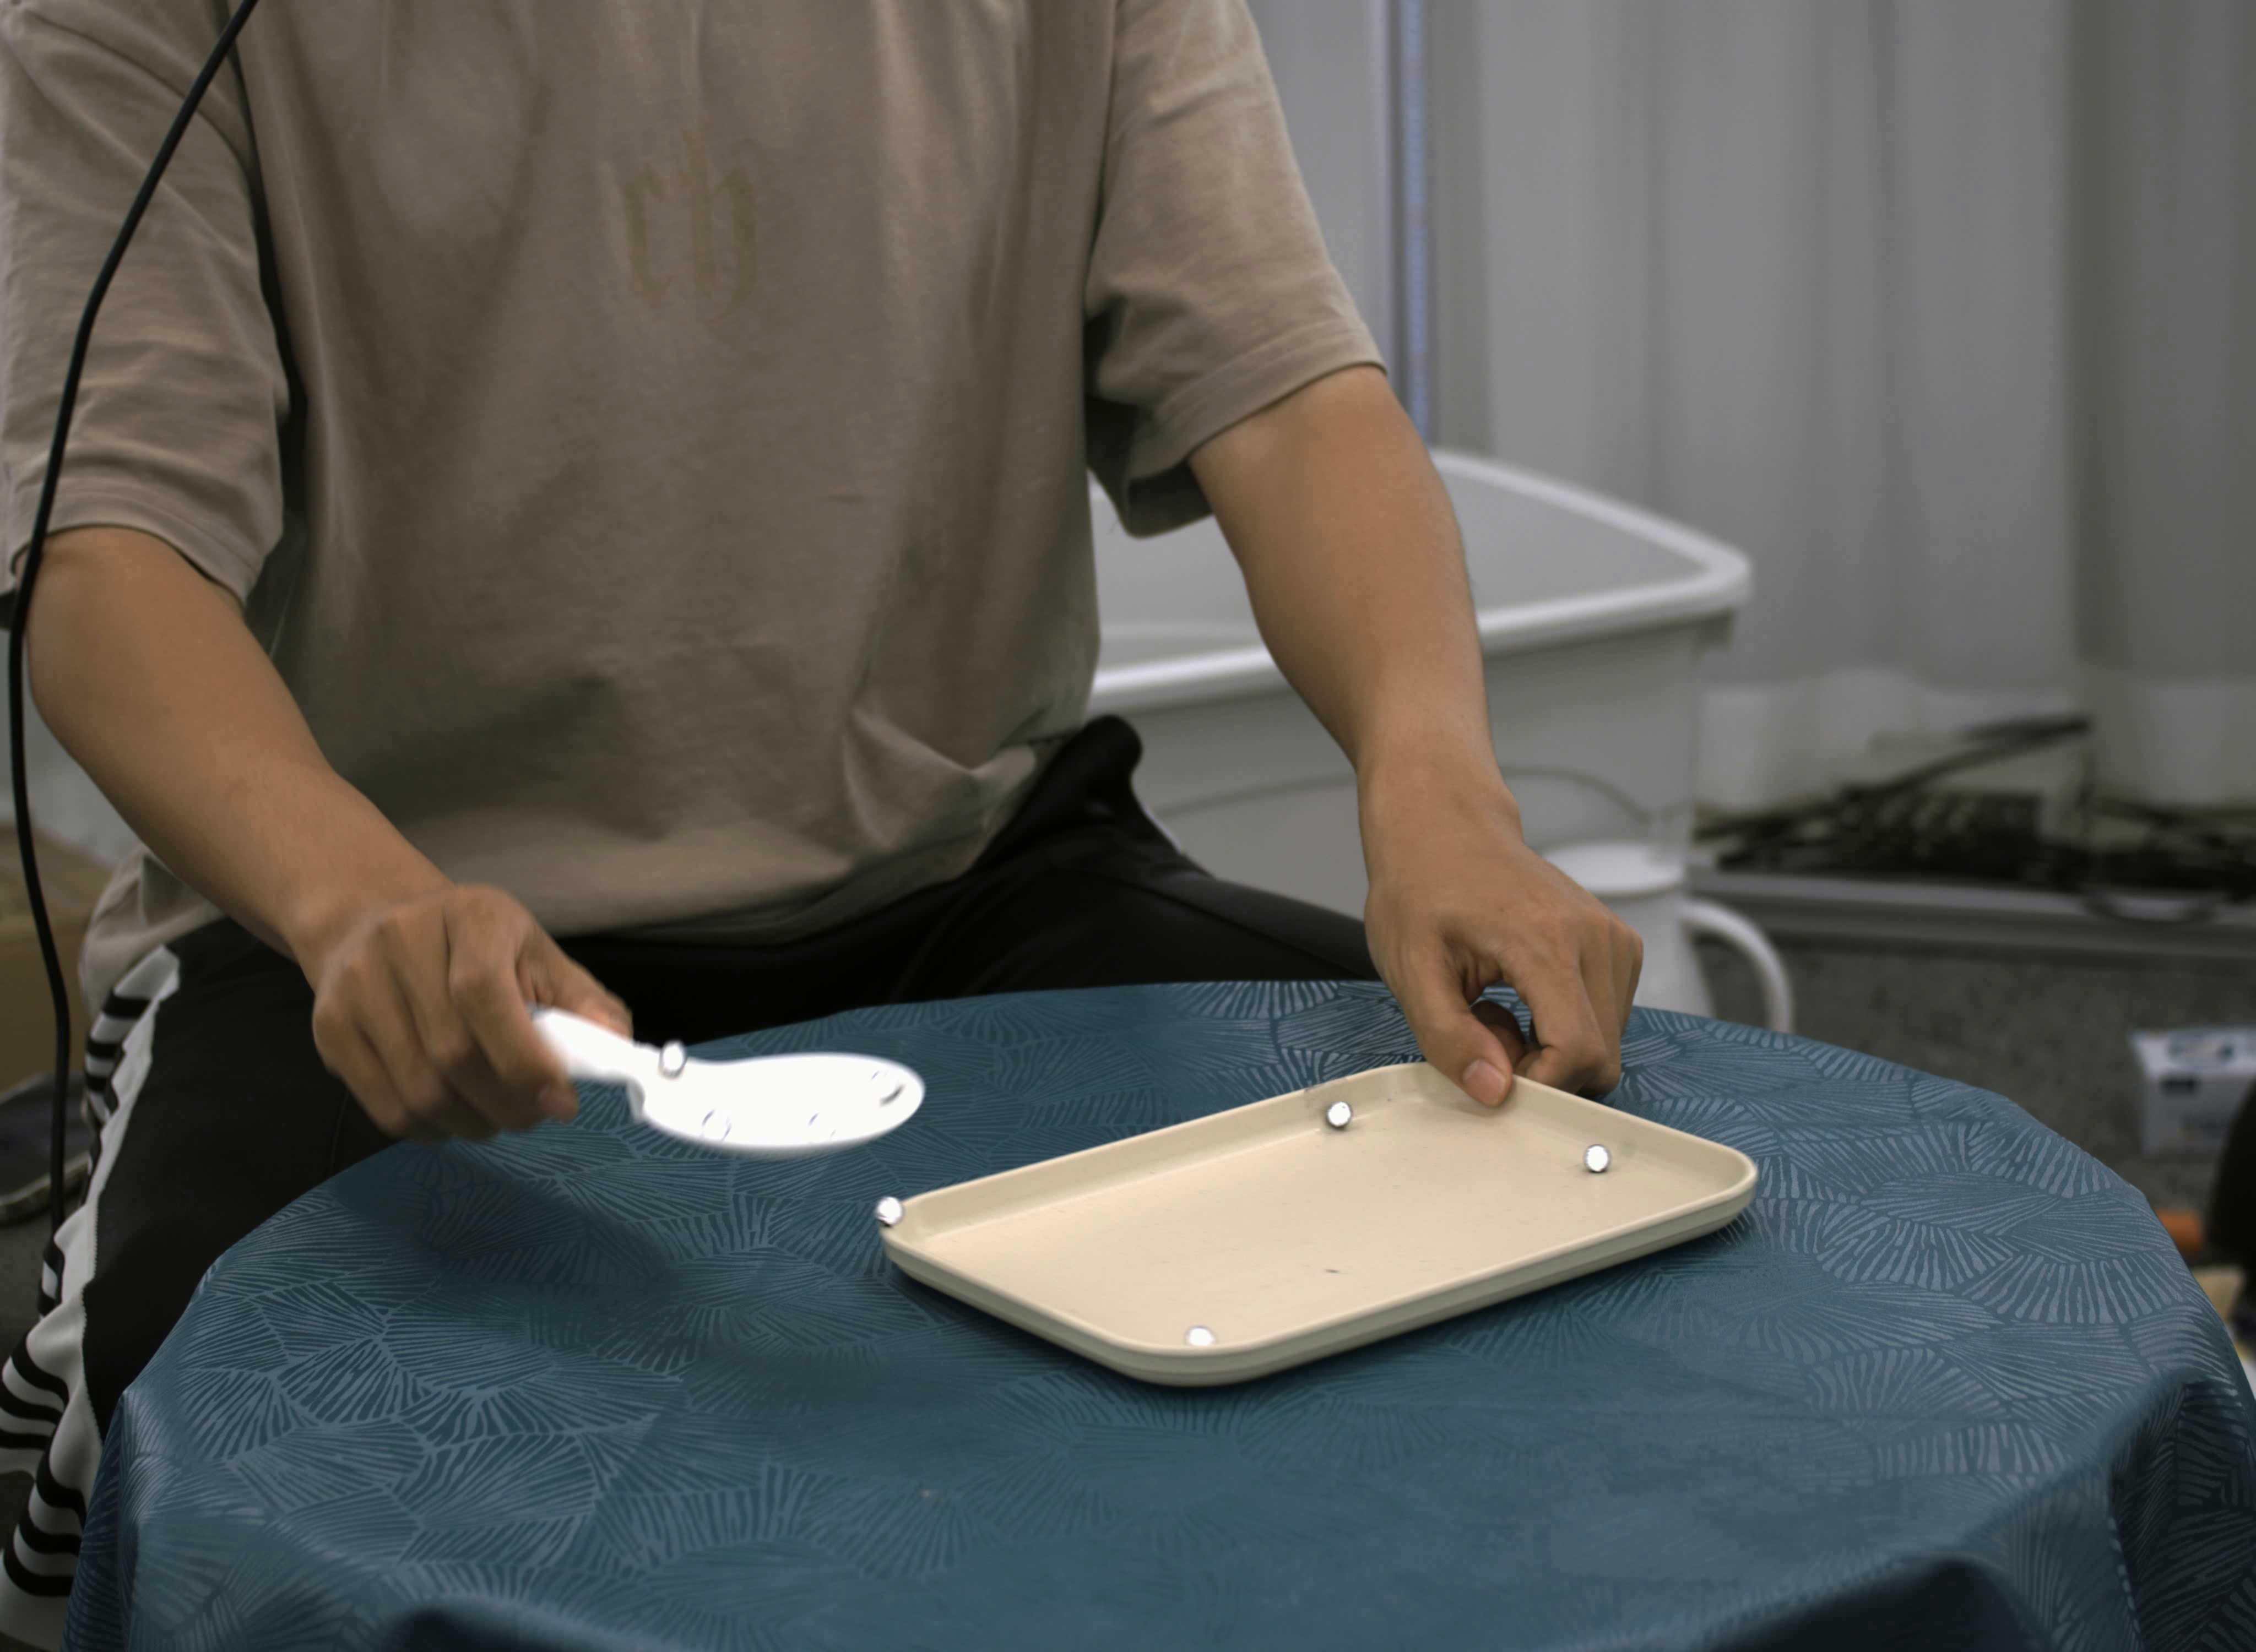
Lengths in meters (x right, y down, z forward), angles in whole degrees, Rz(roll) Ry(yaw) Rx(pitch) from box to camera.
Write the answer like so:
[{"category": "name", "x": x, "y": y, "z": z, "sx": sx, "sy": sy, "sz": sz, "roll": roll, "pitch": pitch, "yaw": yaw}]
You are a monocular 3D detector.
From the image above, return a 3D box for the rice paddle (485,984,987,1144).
[{"category": "rice paddle", "x": -0.117, "y": 0.070, "z": 1.605, "sx": 0.069, "sy": 0.029, "sz": 0.206, "roll": -23, "pitch": 19, "yaw": -38}]

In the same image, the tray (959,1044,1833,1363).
[{"category": "tray", "x": 0.082, "y": 0.113, "z": 1.654, "sx": 0.239, "sy": 0.017, "sz": 0.172, "roll": -13, "pitch": 19, "yaw": -35}]
